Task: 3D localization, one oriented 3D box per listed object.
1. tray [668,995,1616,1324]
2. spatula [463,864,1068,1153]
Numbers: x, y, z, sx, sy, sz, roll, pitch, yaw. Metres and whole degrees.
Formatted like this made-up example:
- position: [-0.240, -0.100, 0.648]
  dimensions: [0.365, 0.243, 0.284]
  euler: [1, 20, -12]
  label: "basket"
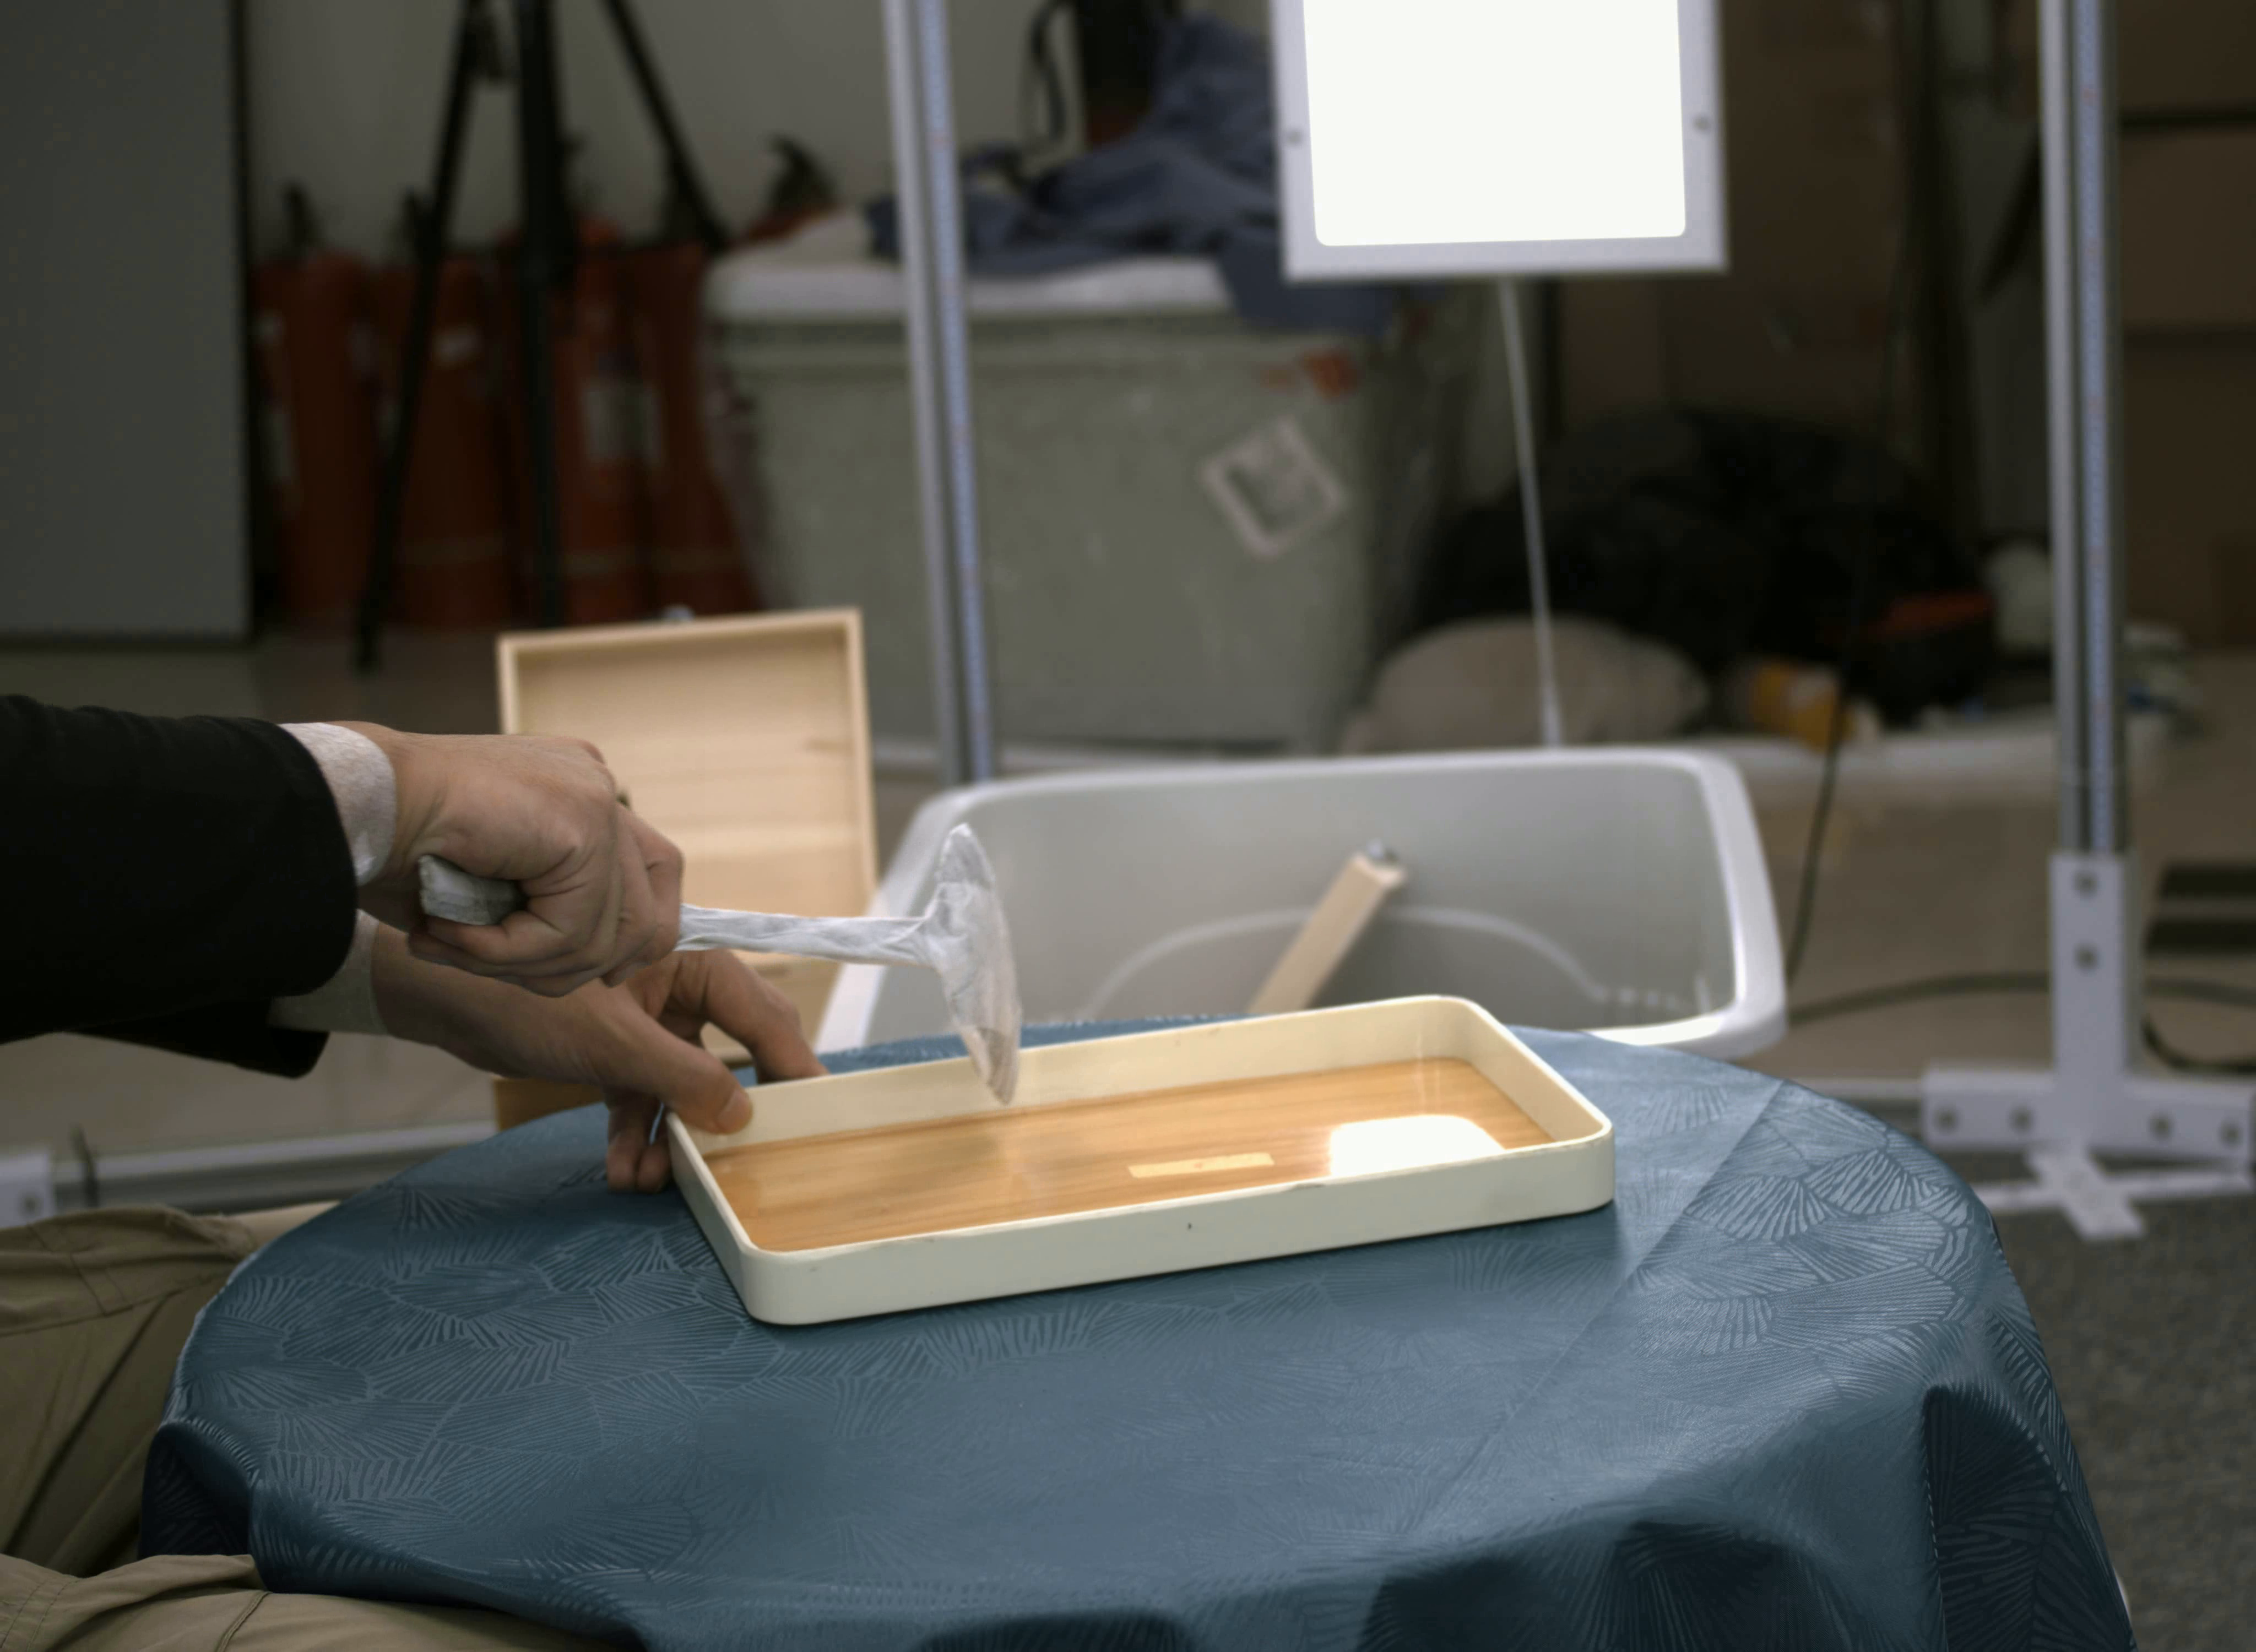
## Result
- position: [0.002, 0.112, 1.893]
  dimensions: [0.297, 0.027, 0.193]
  euler: [-7, 15, -10]
  label: "tray"
- position: [-0.109, 0.042, 1.770]
  dimensions: [0.046, 0.099, 0.356]
  euler: [-9, -13, 35]
  label: "spatula"
